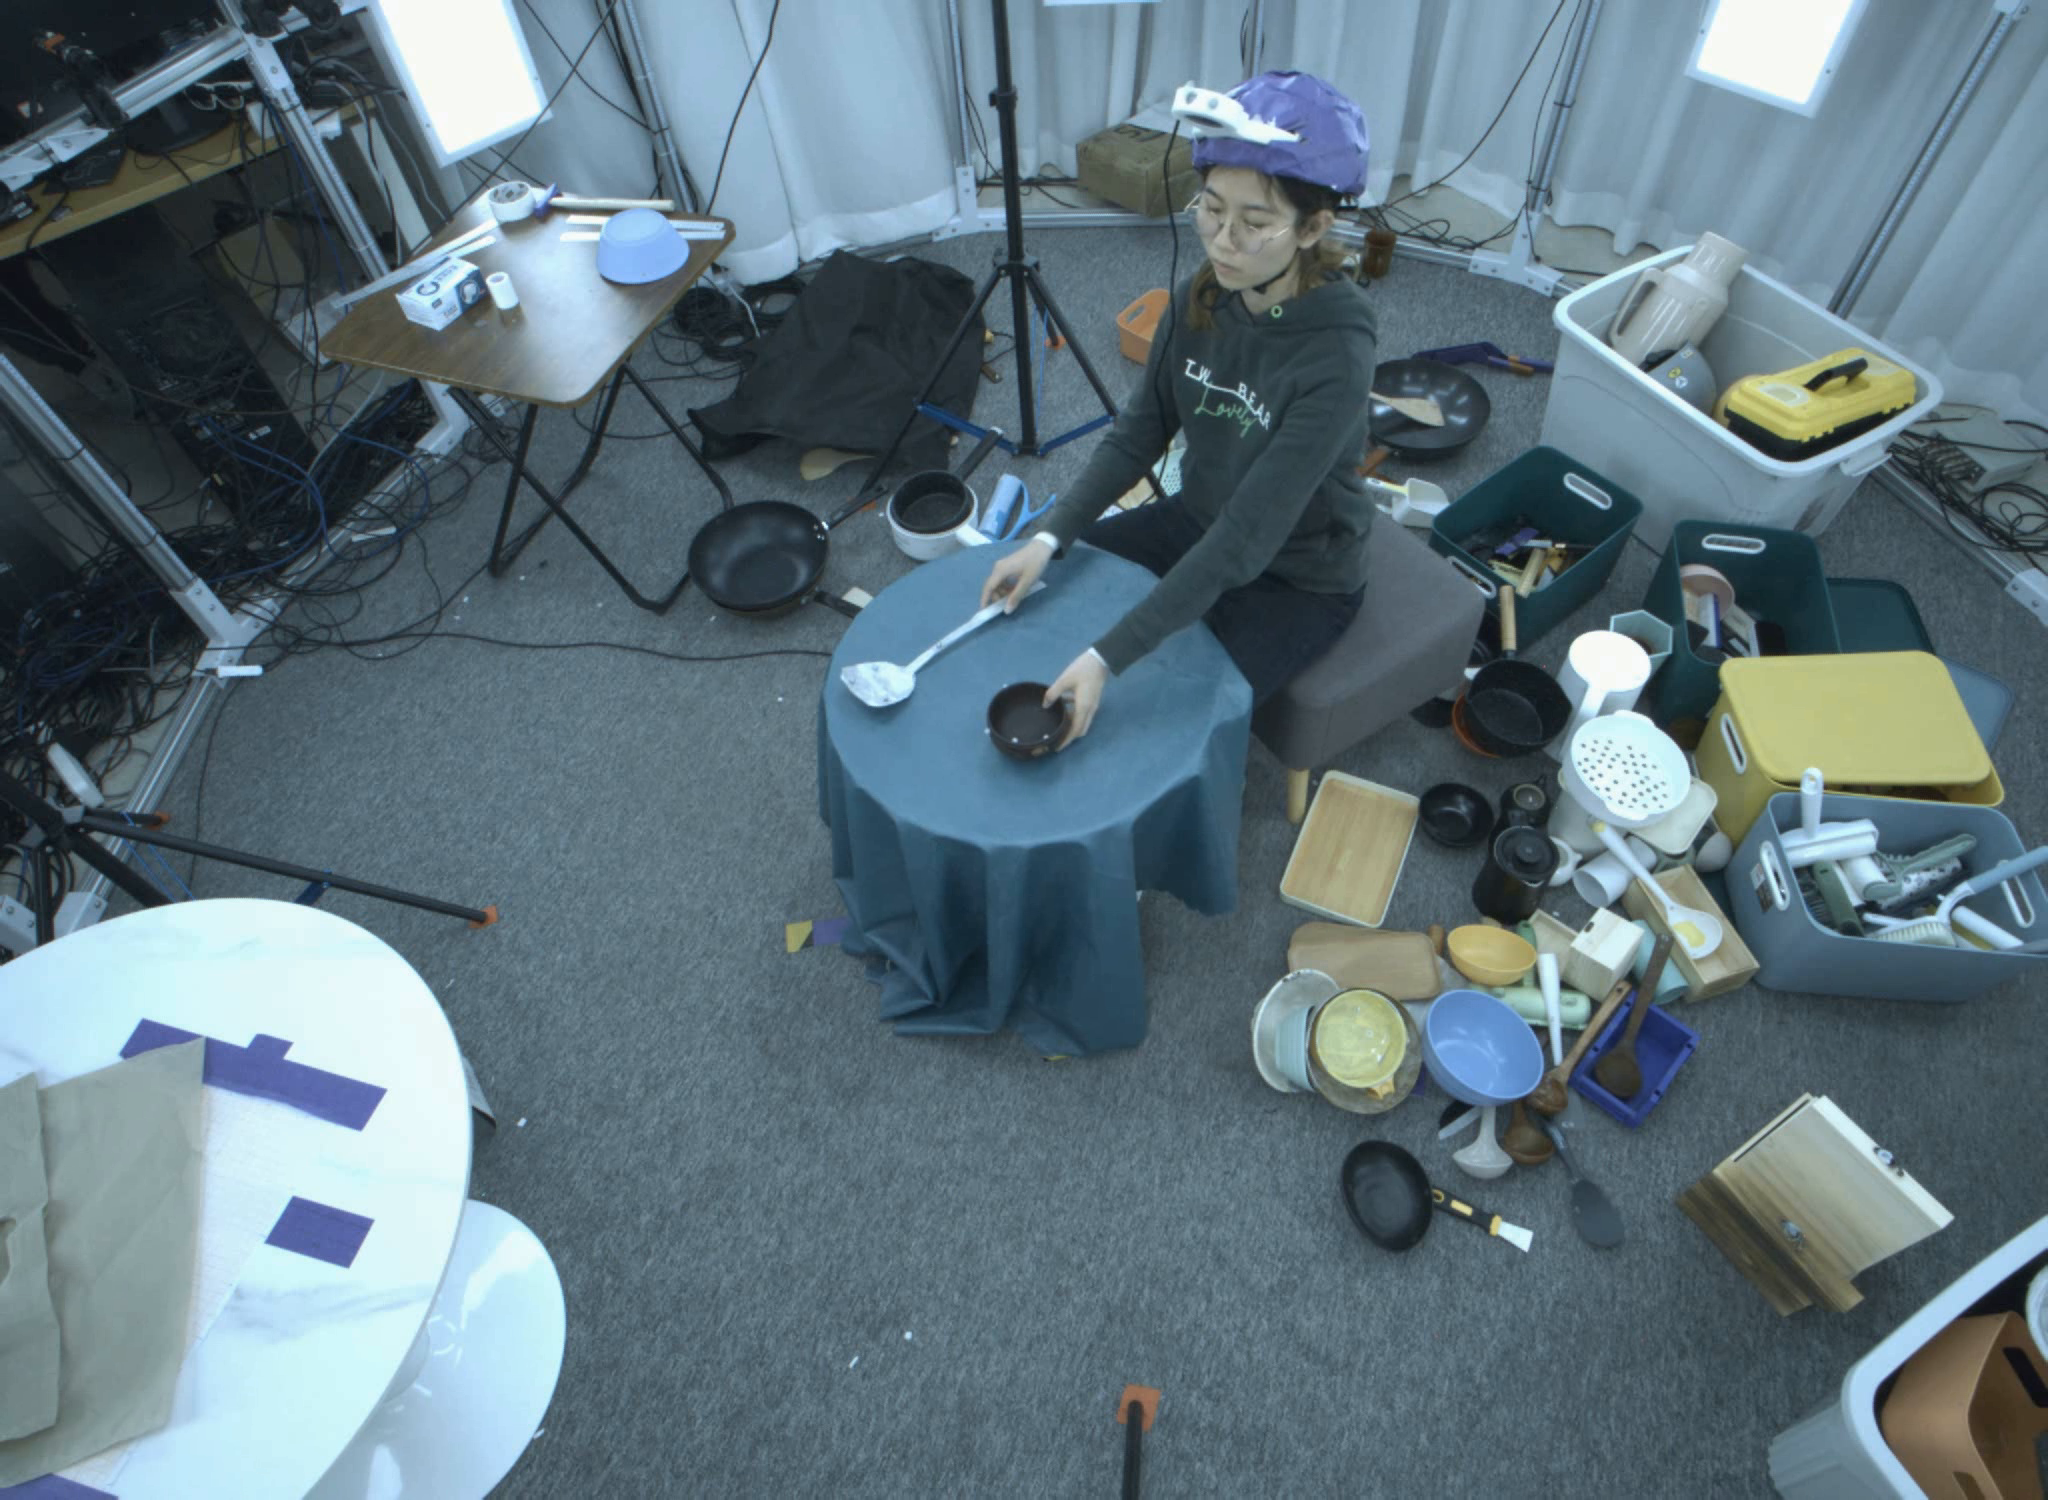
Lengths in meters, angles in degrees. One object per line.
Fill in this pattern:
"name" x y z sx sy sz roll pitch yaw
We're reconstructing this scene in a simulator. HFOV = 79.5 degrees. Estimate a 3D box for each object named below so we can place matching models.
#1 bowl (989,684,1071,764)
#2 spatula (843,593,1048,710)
"bowl" 0.009 -0.030 1.774 0.118 0.070 0.117 0 55 1
"spatula" -0.111 -0.167 1.894 0.367 0.045 0.097 -35 60 -20
